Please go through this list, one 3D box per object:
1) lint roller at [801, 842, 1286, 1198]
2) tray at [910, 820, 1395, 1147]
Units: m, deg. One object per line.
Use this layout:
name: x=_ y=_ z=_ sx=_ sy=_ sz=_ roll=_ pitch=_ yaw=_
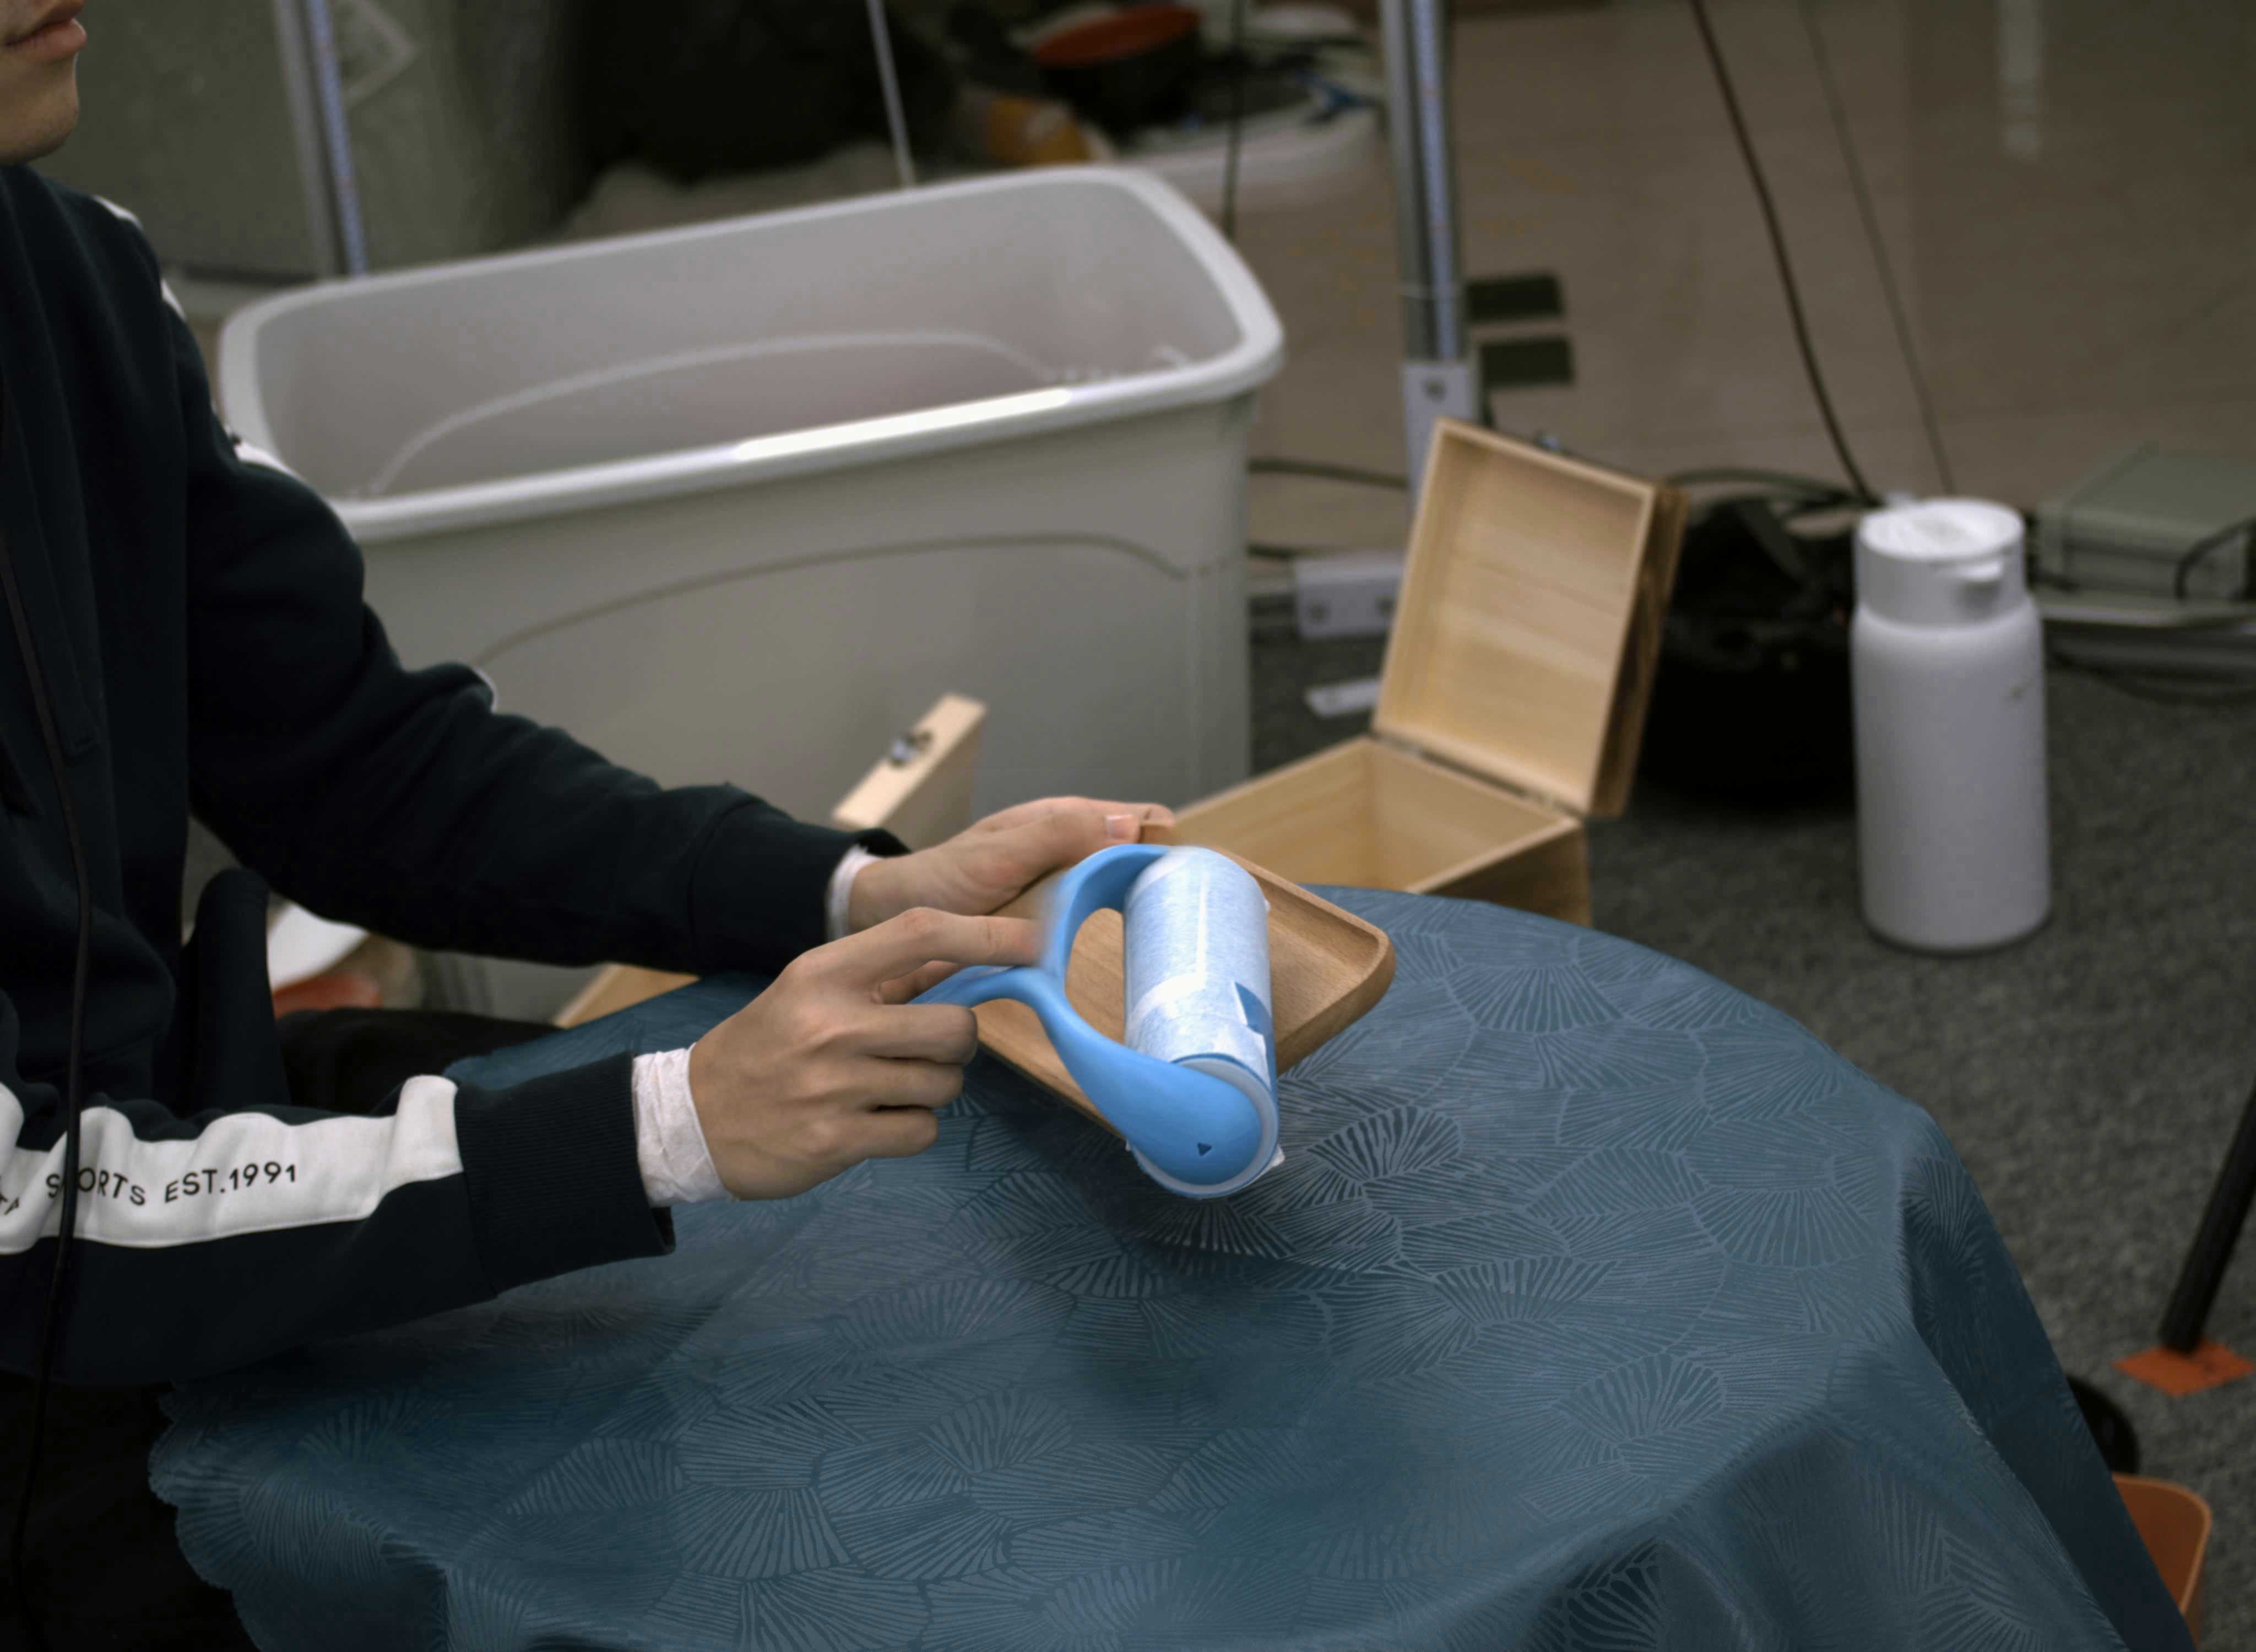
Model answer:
lint roller: x=-0.033 y=0.077 z=2.026 sx=0.180 sy=0.069 sz=0.225 roll=-10 pitch=24 yaw=1
tray: x=0.007 y=0.058 z=2.162 sx=0.130 sy=0.023 sz=0.248 roll=-37 pitch=24 yaw=-11
